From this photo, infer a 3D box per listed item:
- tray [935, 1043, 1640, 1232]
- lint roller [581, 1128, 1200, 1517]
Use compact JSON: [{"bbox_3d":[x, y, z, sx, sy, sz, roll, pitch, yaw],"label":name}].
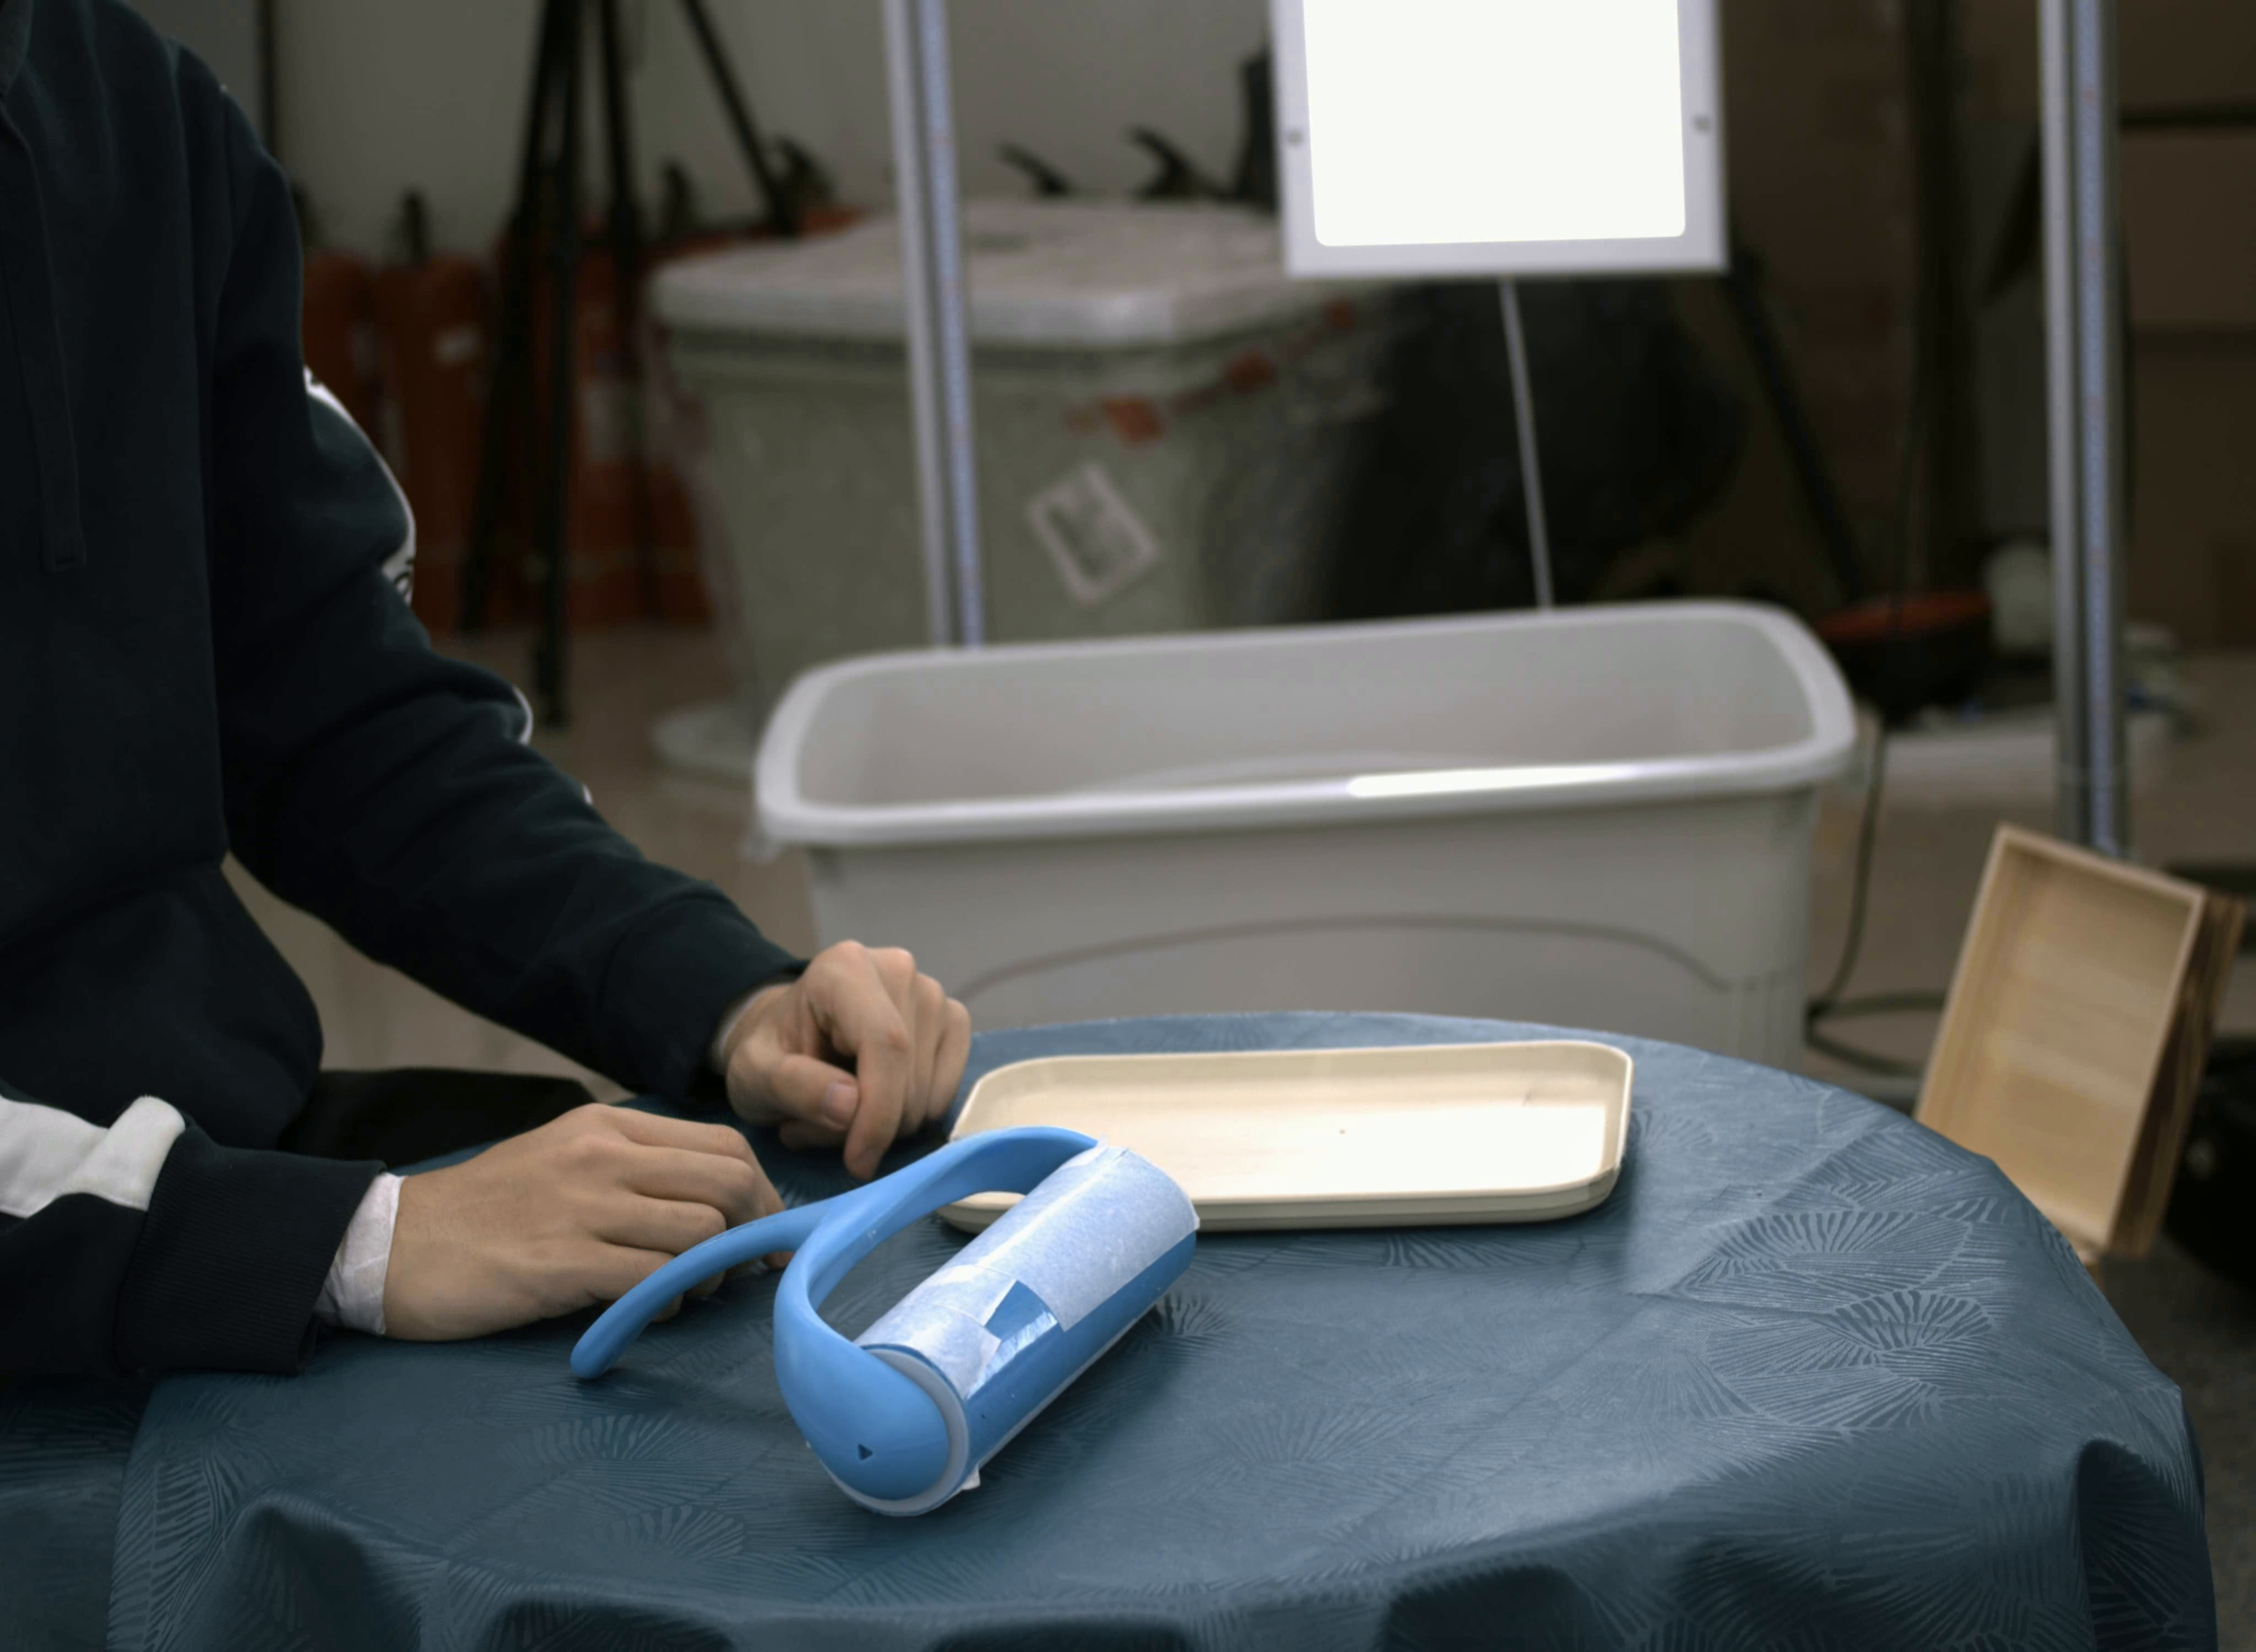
[{"bbox_3d":[0.057,0.110,1.906,0.241,0.017,0.169,-3,13,10],"label":"tray"},{"bbox_3d":[-0.090,0.151,1.711,0.182,0.068,0.225,1,16,19],"label":"lint roller"}]
